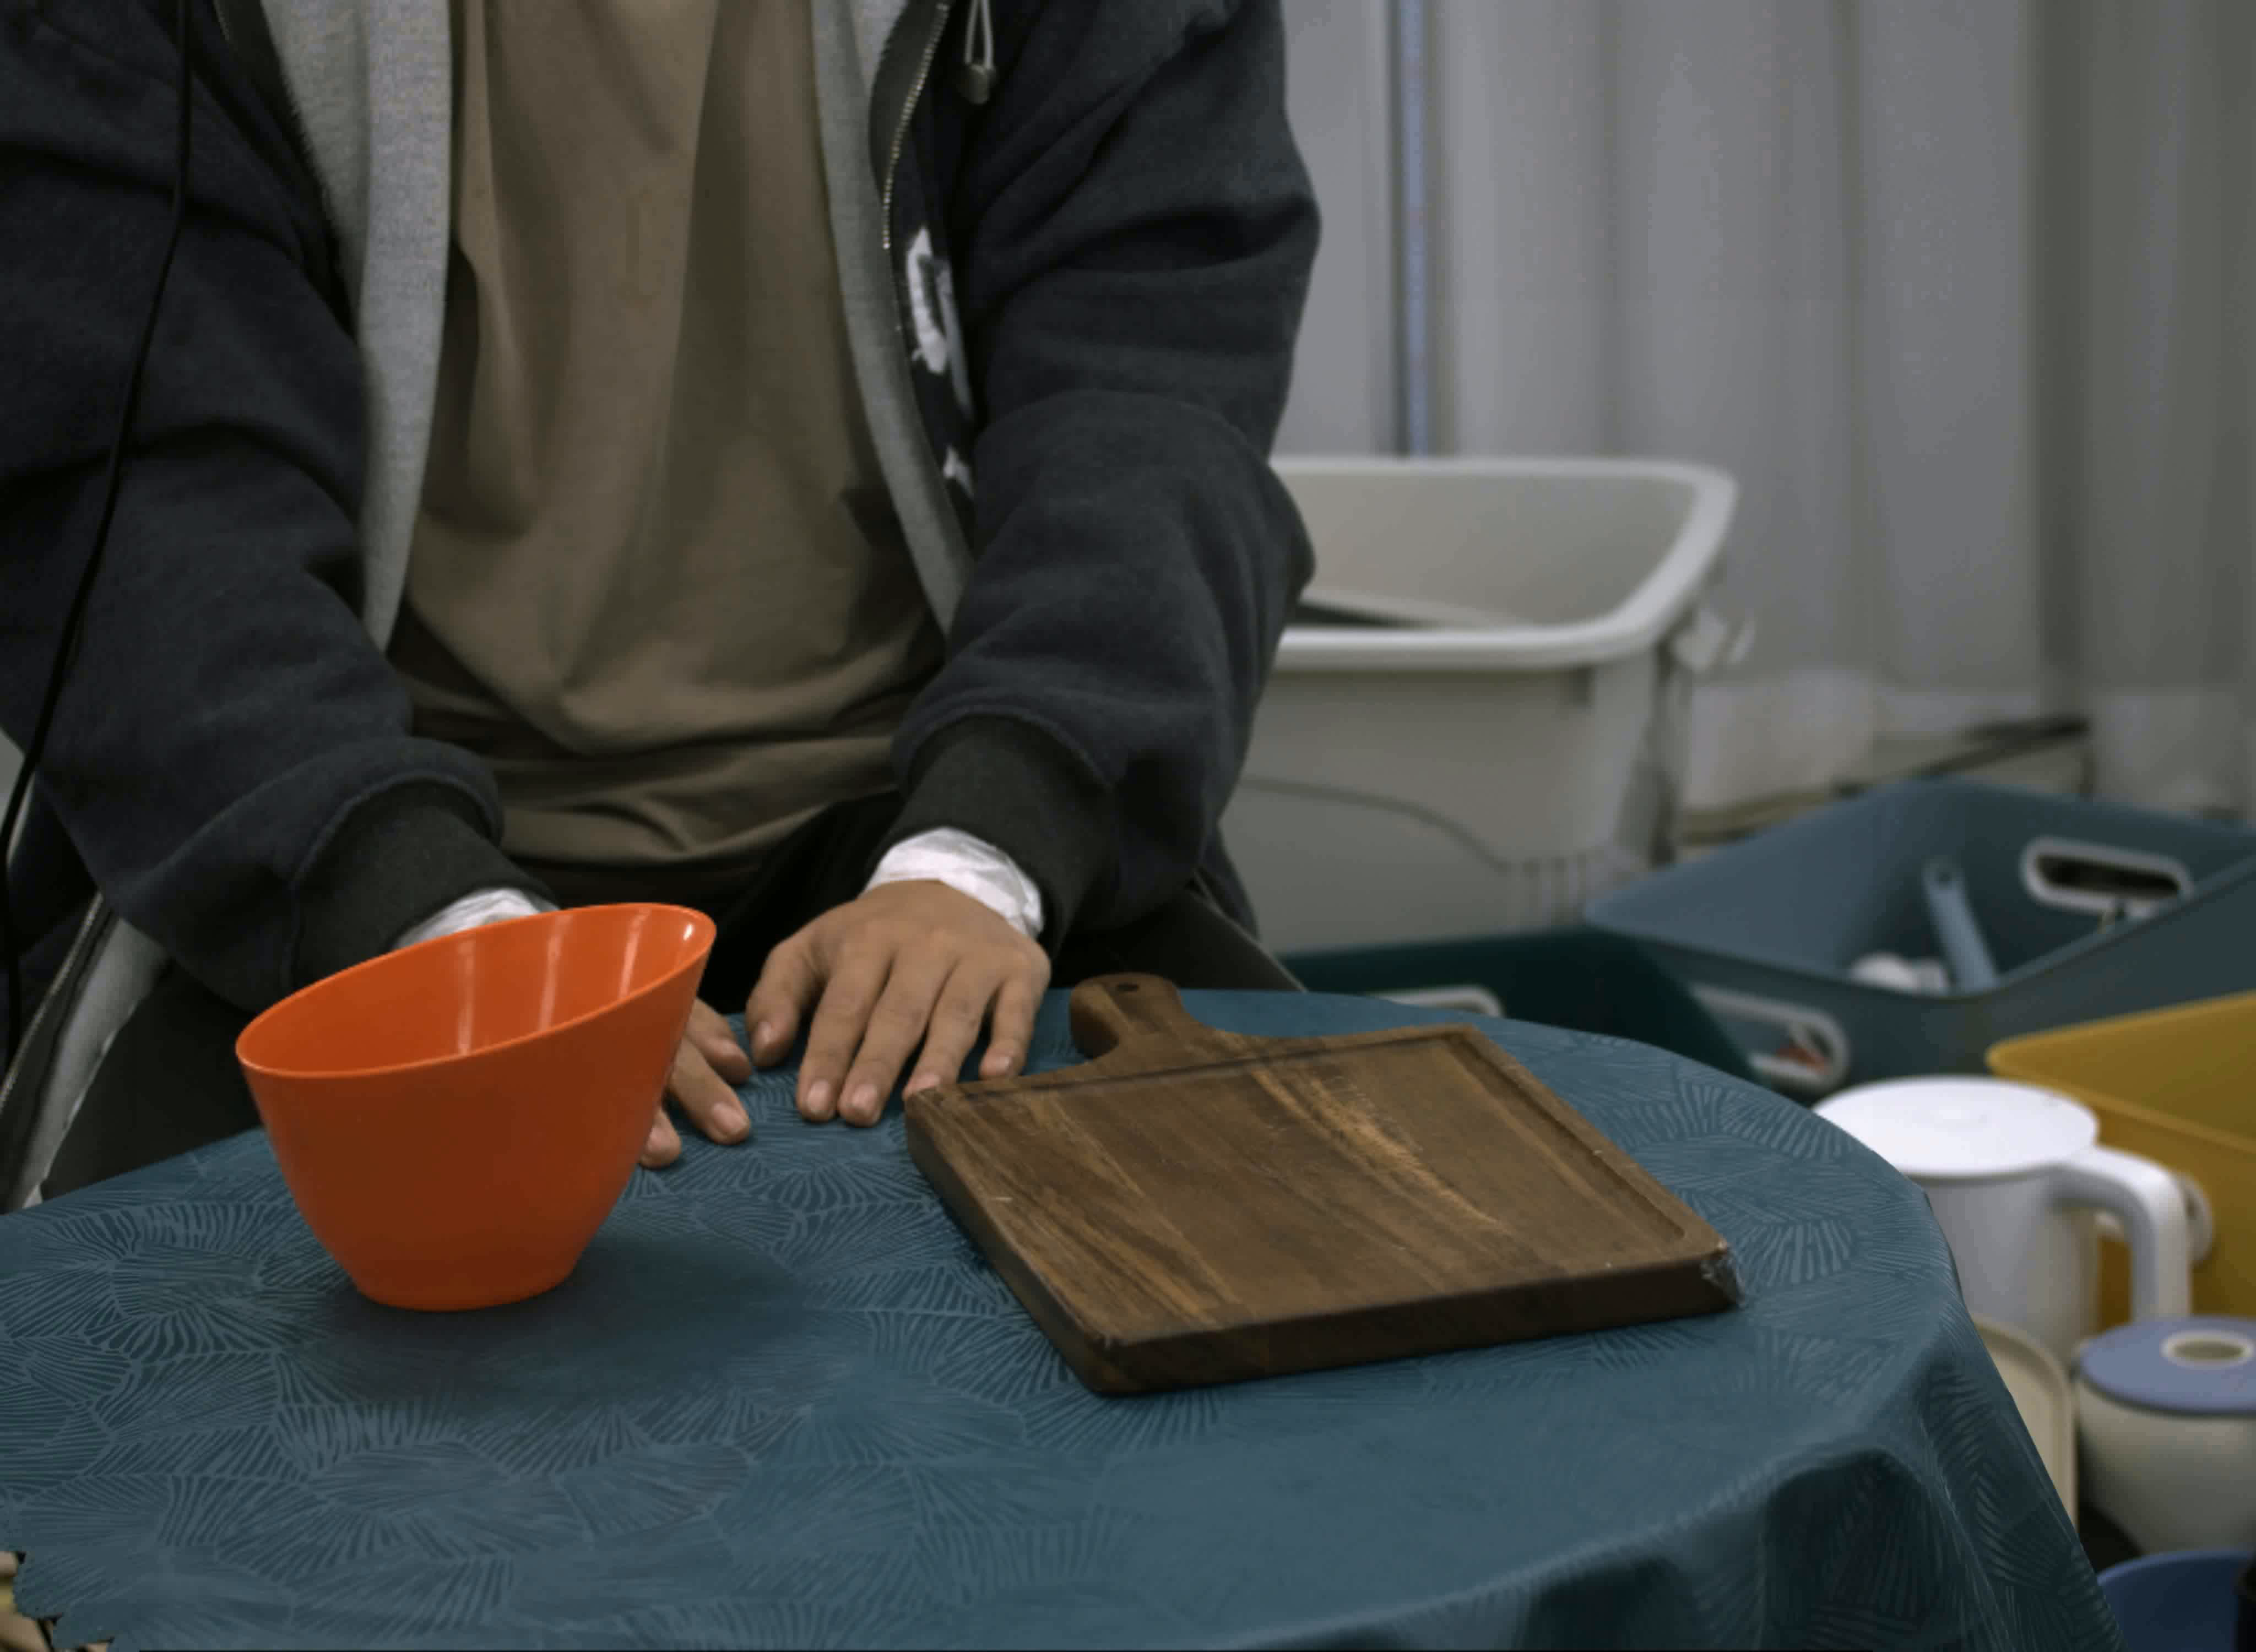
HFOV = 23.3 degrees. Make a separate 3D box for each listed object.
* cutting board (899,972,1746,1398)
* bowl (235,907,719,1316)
[{"bbox_3d":[0.040,0.101,1.721,0.200,0.023,0.355,-7,15,-14],"label":"cutting board"},{"bbox_3d":[-0.194,0.089,1.657,0.147,0.104,0.149,-3,15,0],"label":"bowl"}]
